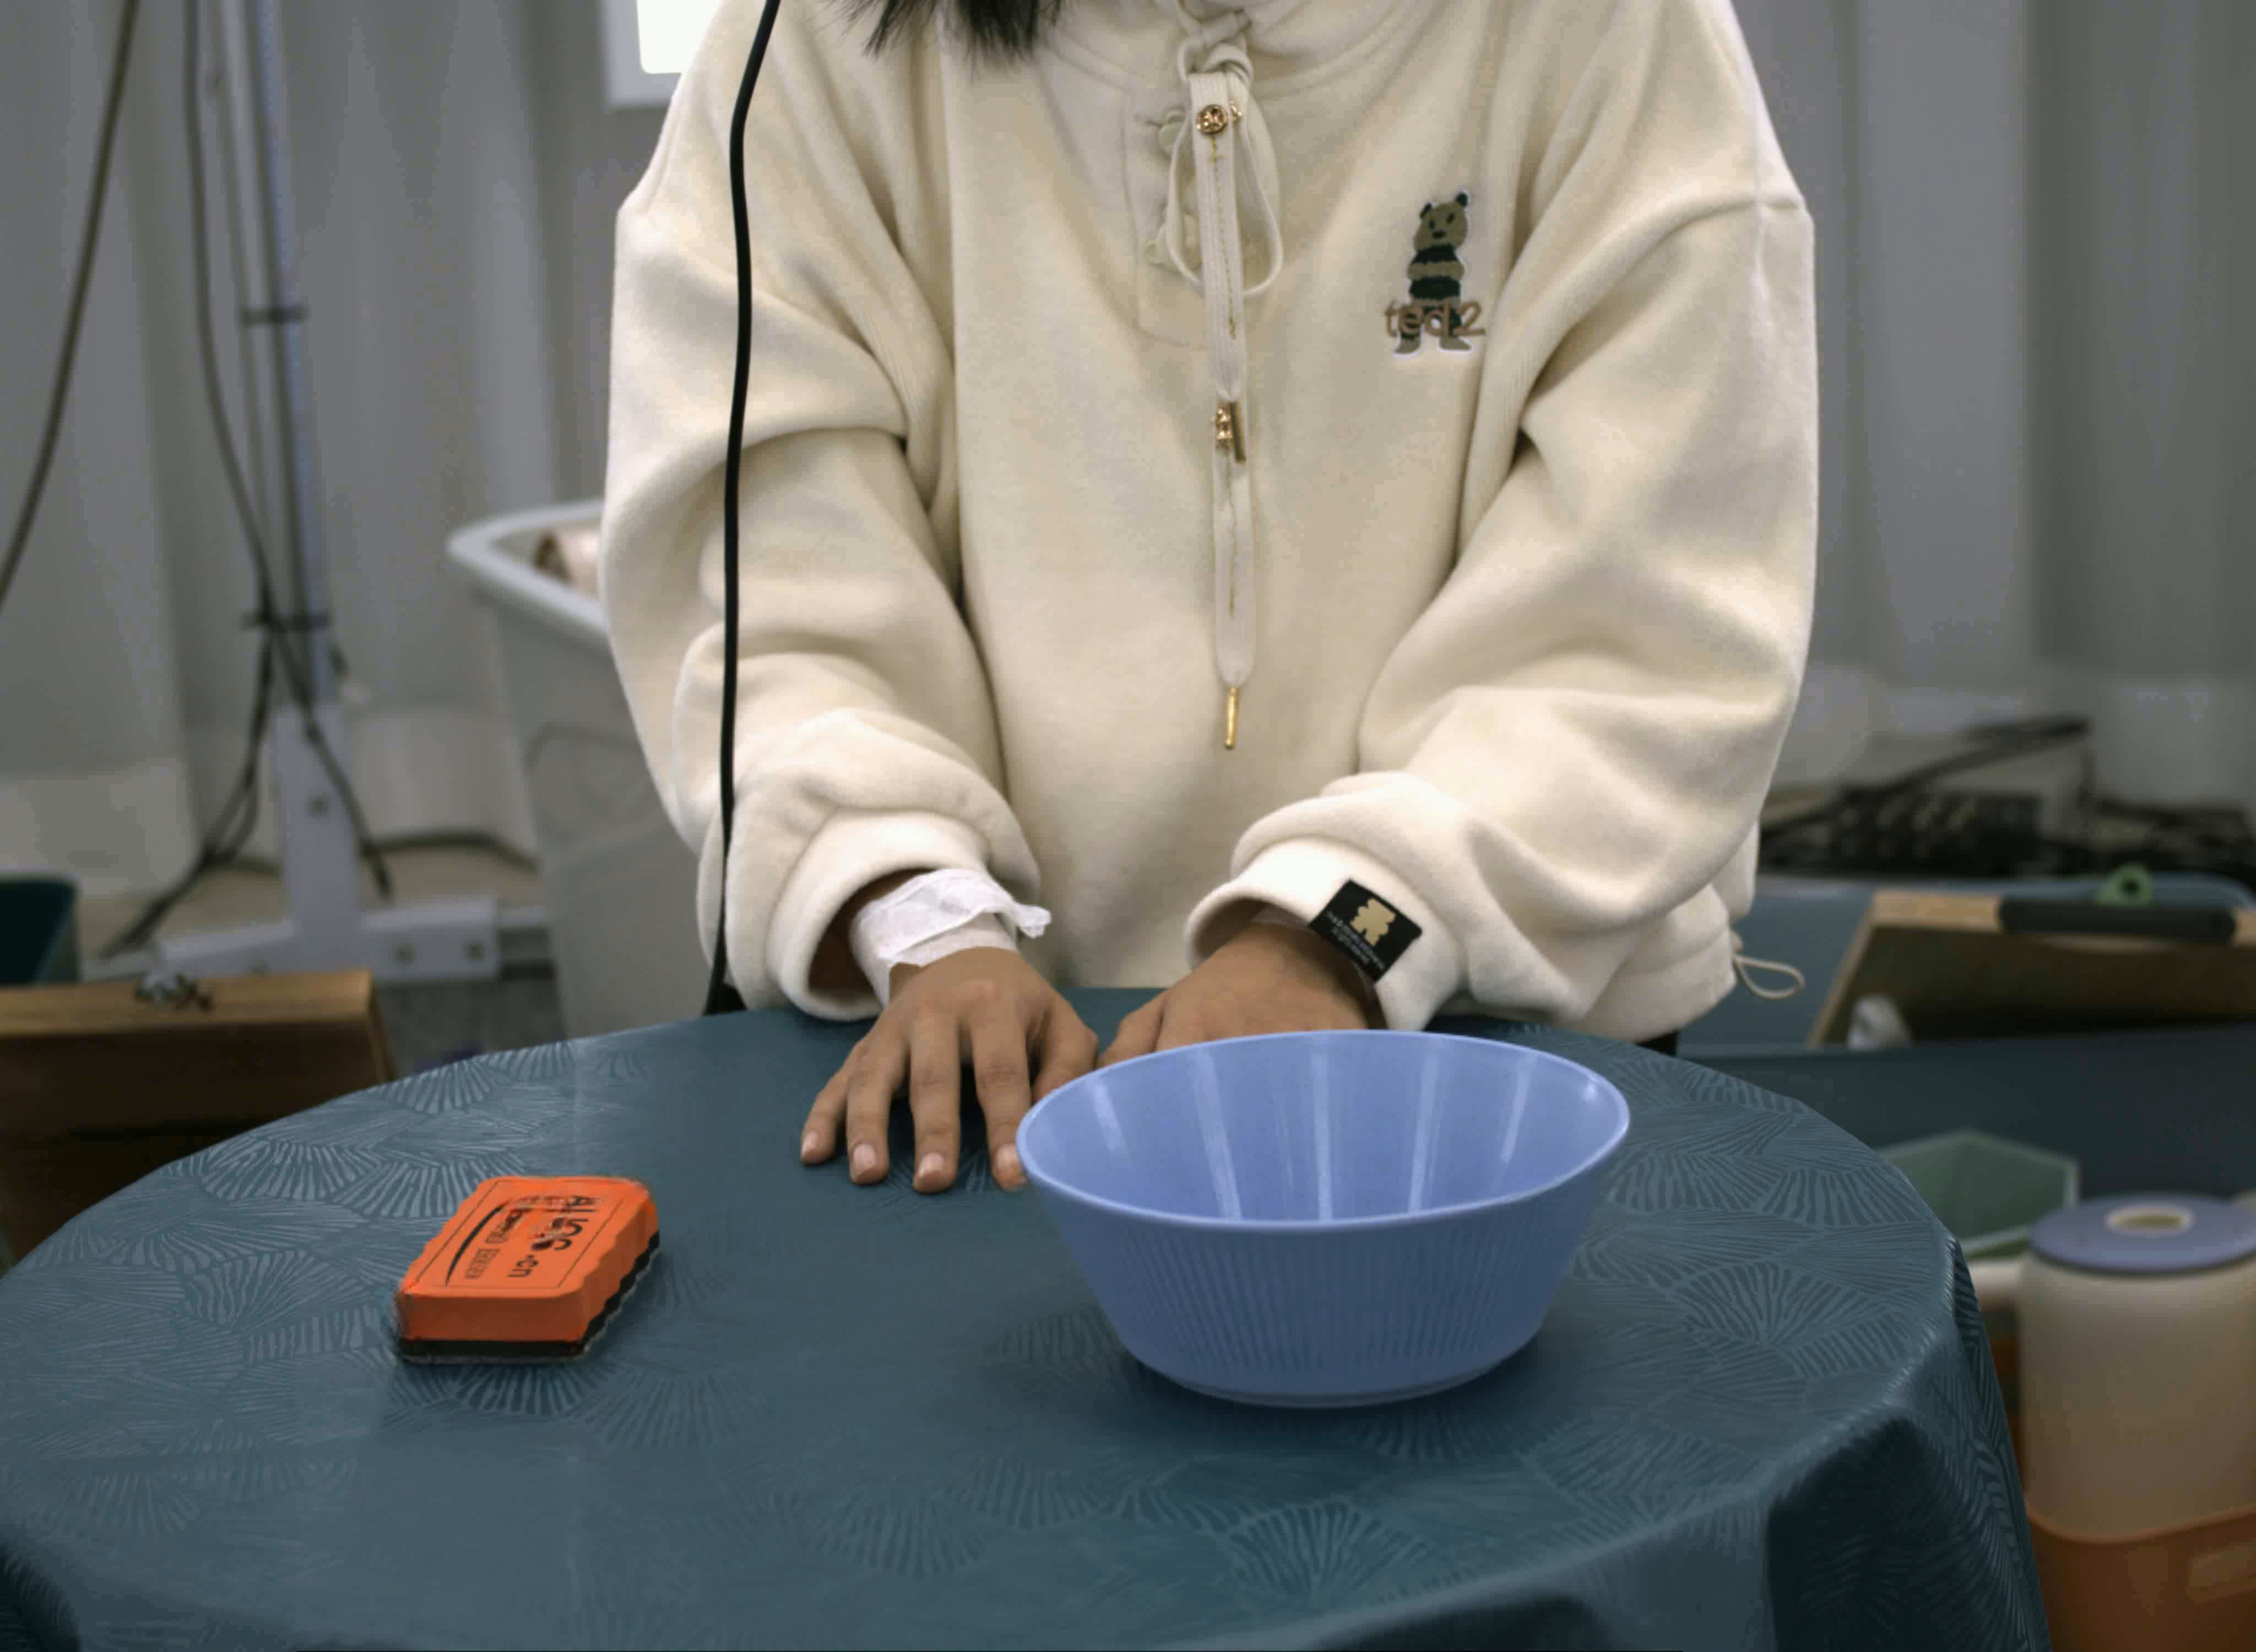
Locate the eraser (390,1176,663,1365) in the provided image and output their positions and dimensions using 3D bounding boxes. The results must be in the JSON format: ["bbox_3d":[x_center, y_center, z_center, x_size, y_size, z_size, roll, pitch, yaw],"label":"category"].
[{"bbox_3d":[-0.179,0.133,1.637,0.059,0.023,0.108,-2,15,11],"label":"eraser"}]

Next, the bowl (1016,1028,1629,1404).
[{"bbox_3d":[0.056,0.114,1.566,0.175,0.070,0.177,-3,15,0],"label":"bowl"}]
